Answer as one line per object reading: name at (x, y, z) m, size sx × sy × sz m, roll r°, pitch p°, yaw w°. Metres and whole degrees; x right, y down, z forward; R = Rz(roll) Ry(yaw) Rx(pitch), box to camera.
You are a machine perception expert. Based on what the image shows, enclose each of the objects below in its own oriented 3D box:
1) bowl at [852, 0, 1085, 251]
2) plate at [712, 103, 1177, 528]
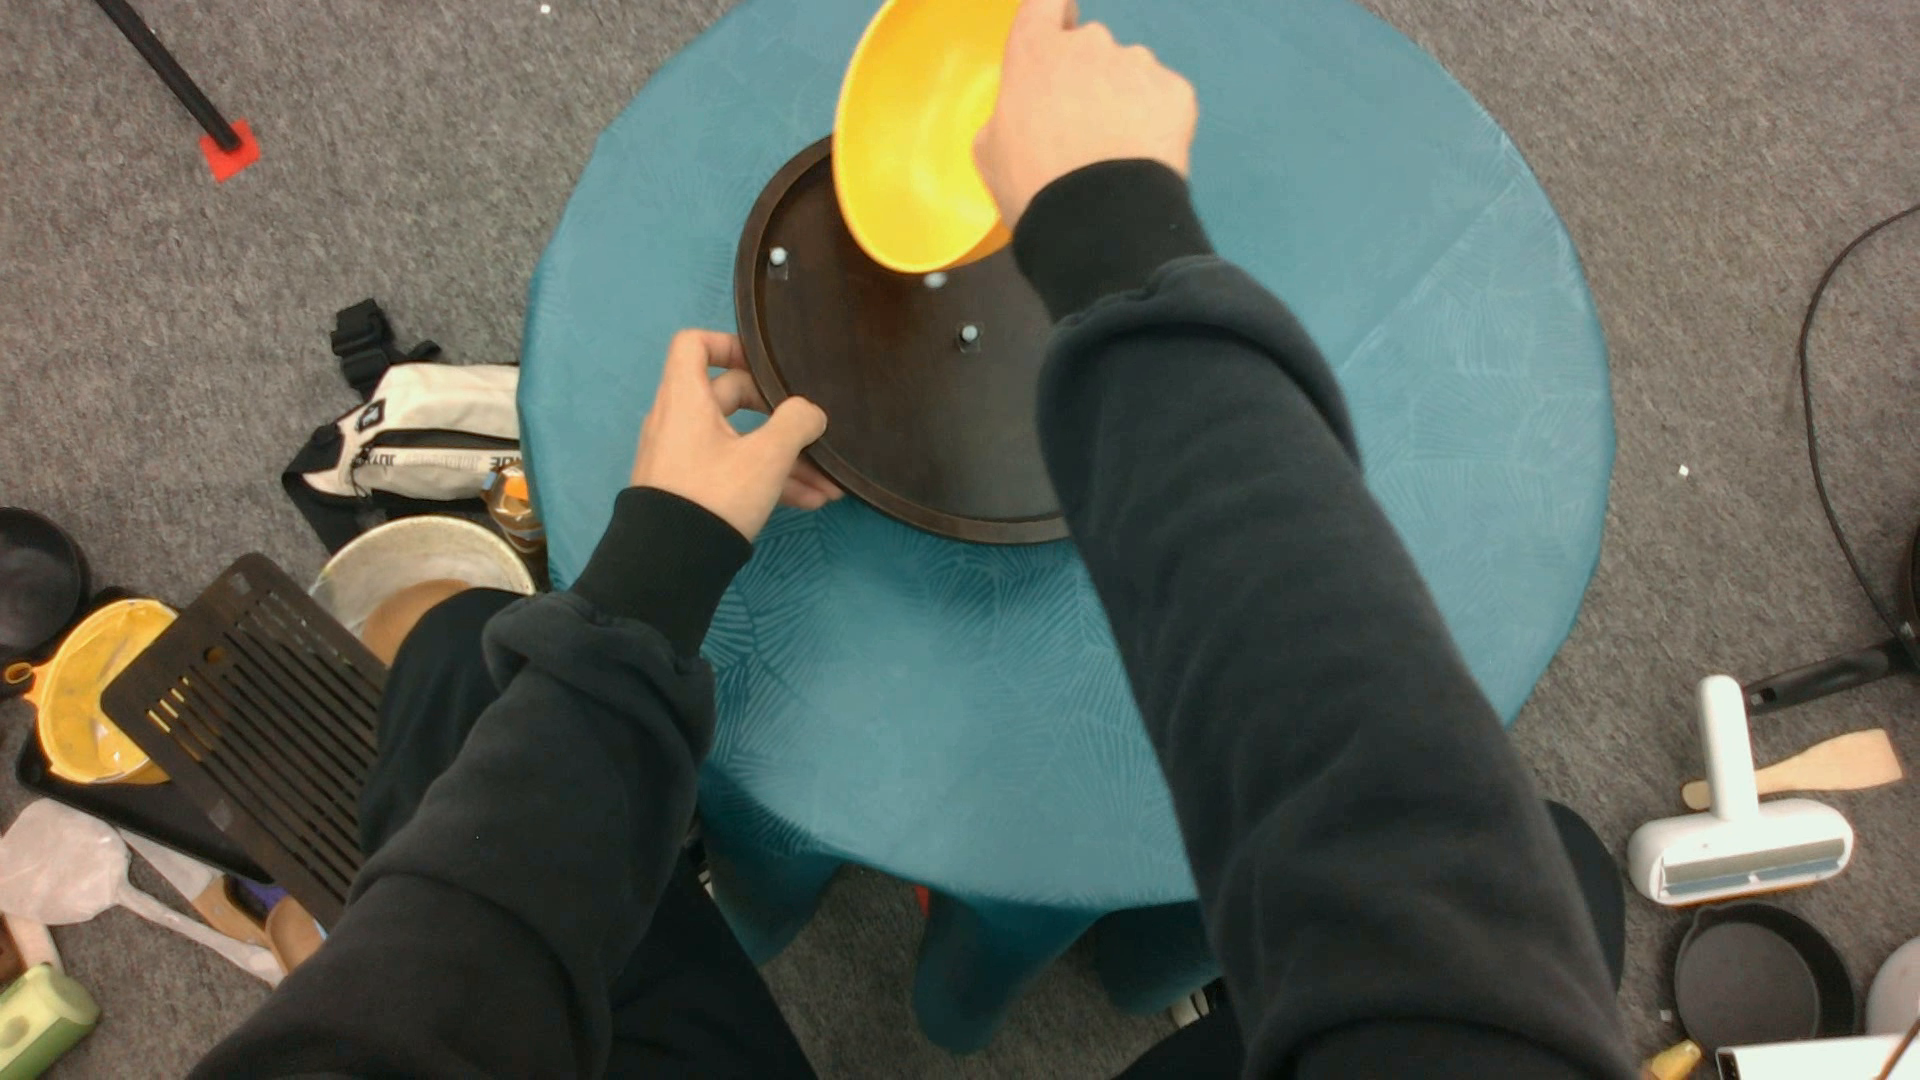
bowl at (0.014, -0.210, 0.671) m, size 0.060 × 0.144 × 0.145 m, roll 0°, pitch 67°, yaw -43°
plate at (-0.004, -0.121, 0.715) m, size 0.255 × 0.029 × 0.255 m, roll 9°, pitch 65°, yaw -20°
